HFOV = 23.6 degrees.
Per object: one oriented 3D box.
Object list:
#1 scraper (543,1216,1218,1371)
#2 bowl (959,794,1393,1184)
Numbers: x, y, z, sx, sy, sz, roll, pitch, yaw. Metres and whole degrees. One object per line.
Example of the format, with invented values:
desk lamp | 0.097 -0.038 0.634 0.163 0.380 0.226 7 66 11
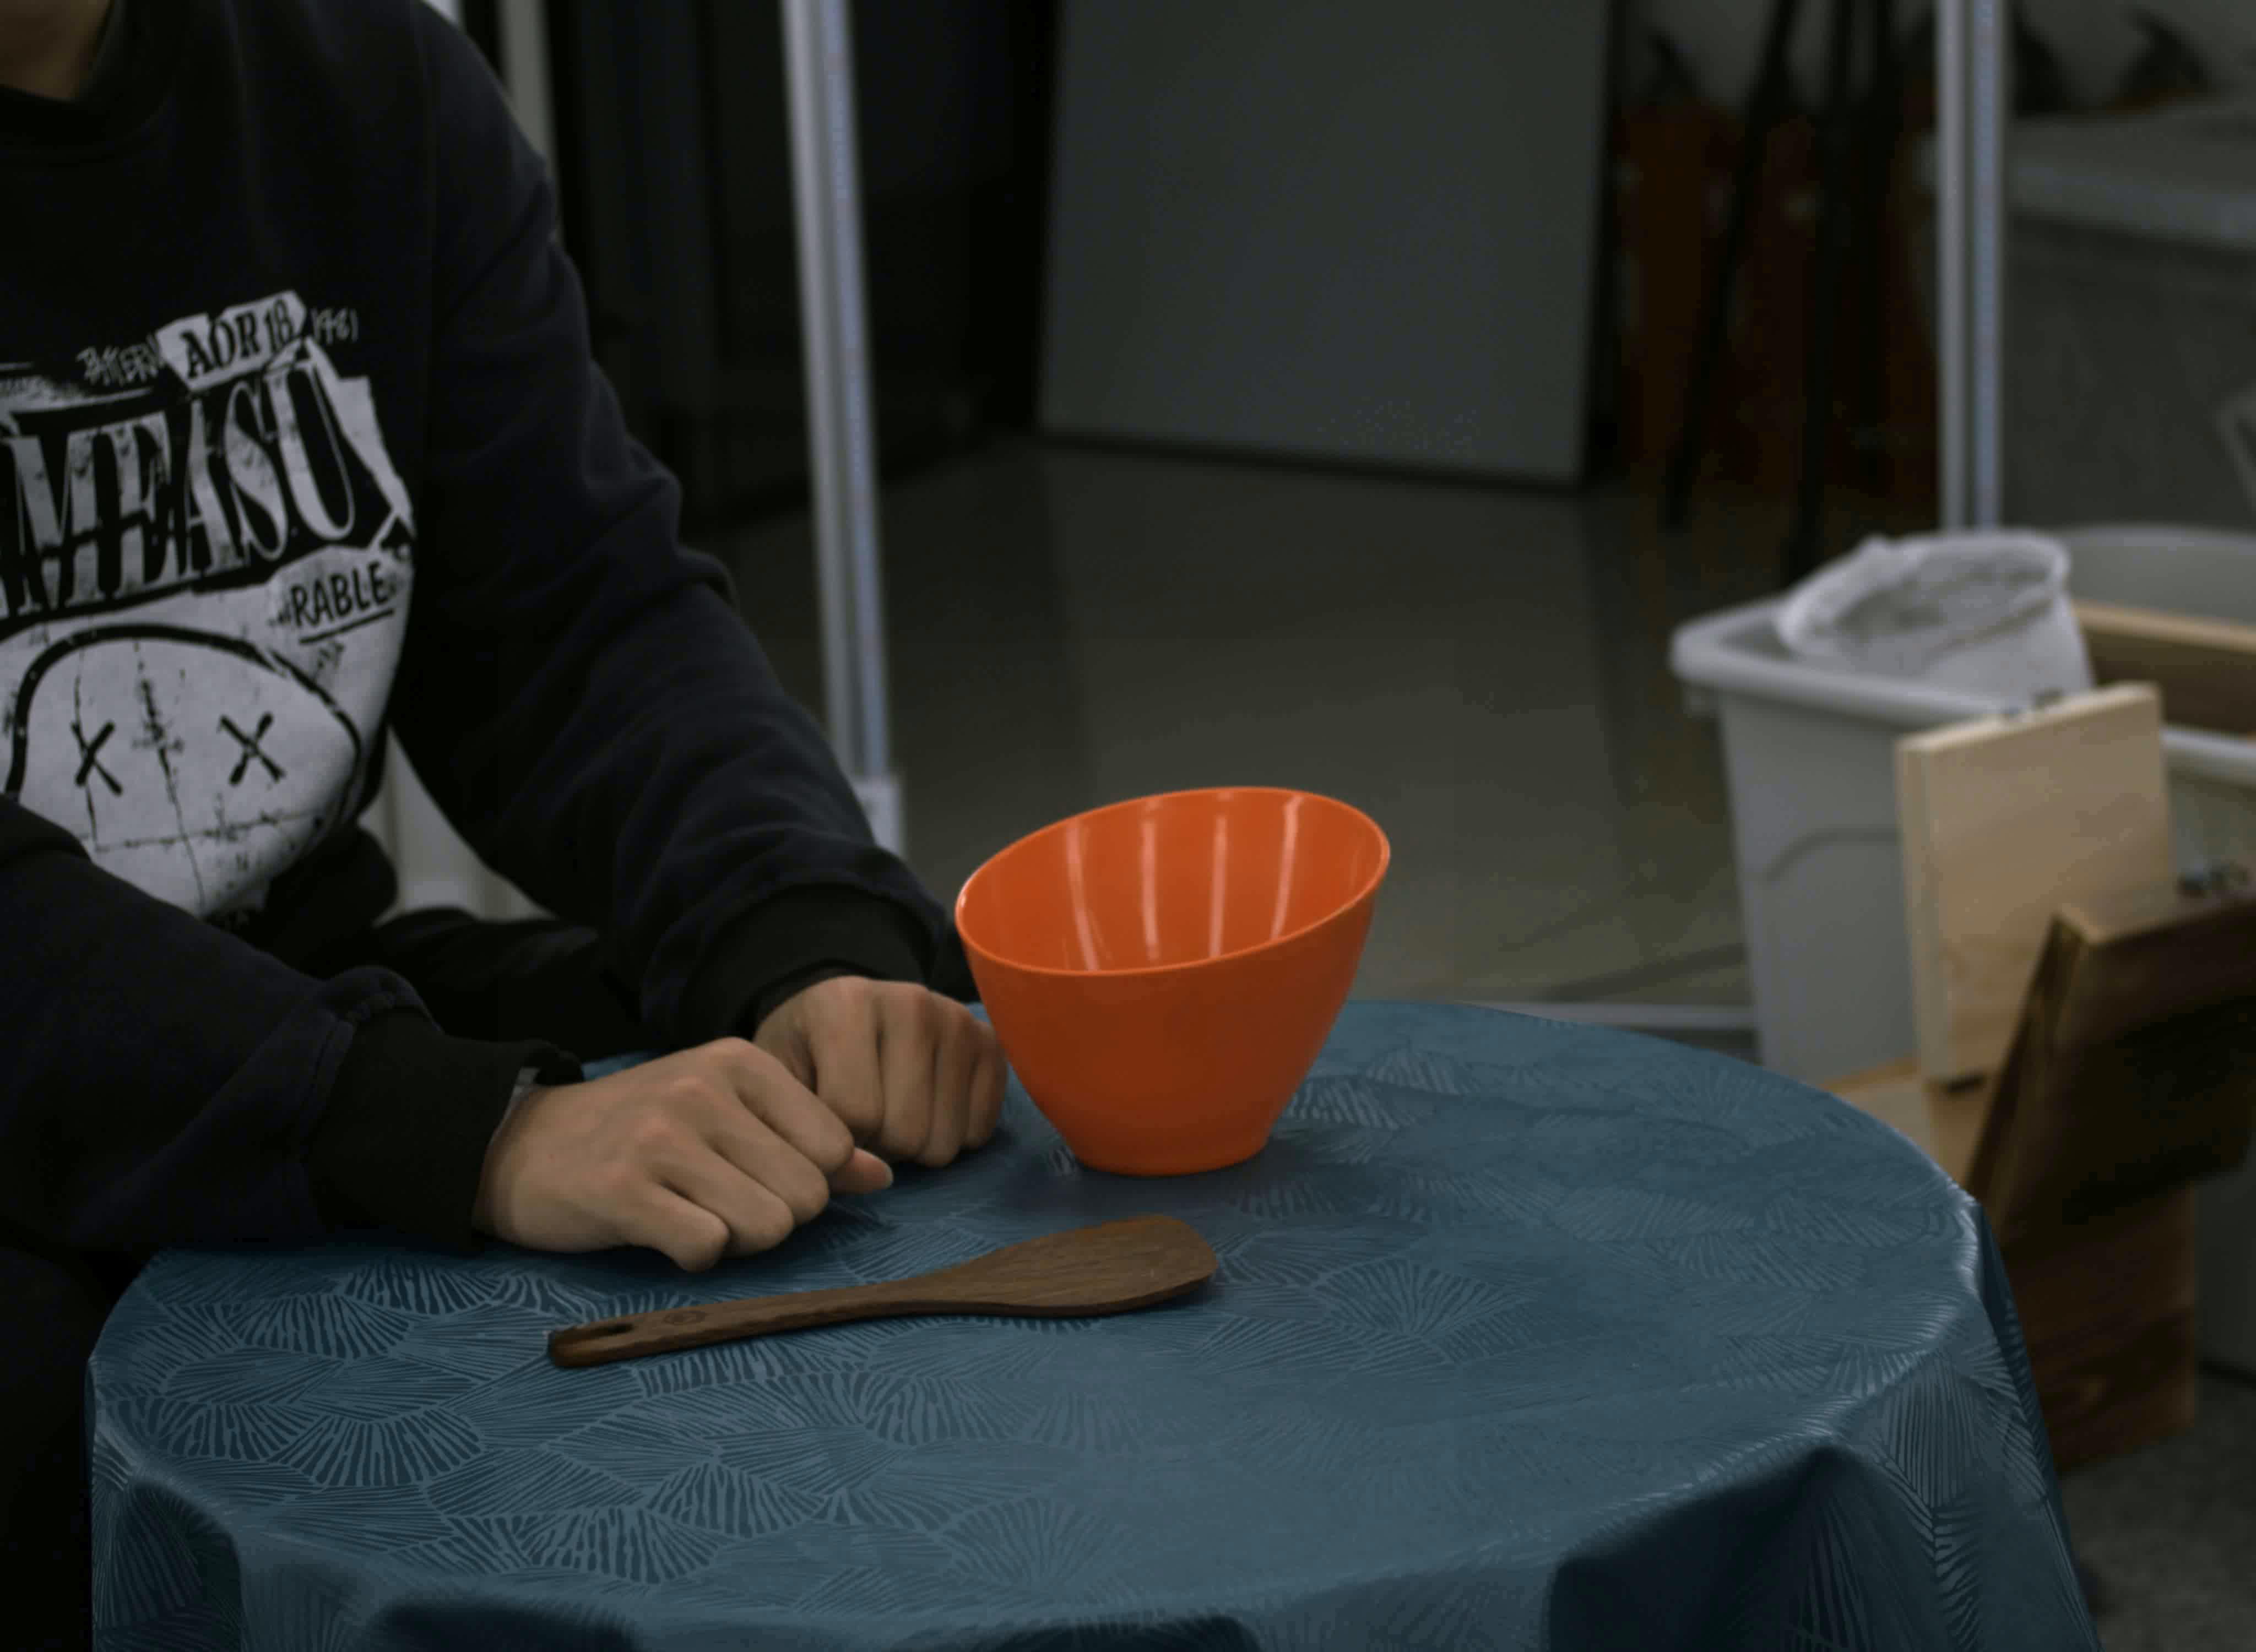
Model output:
scraper | -0.077 0.148 1.669 0.207 0.011 0.076 -8 13 -12
bowl | 0.018 0.058 1.810 0.146 0.106 0.148 -3 14 0
